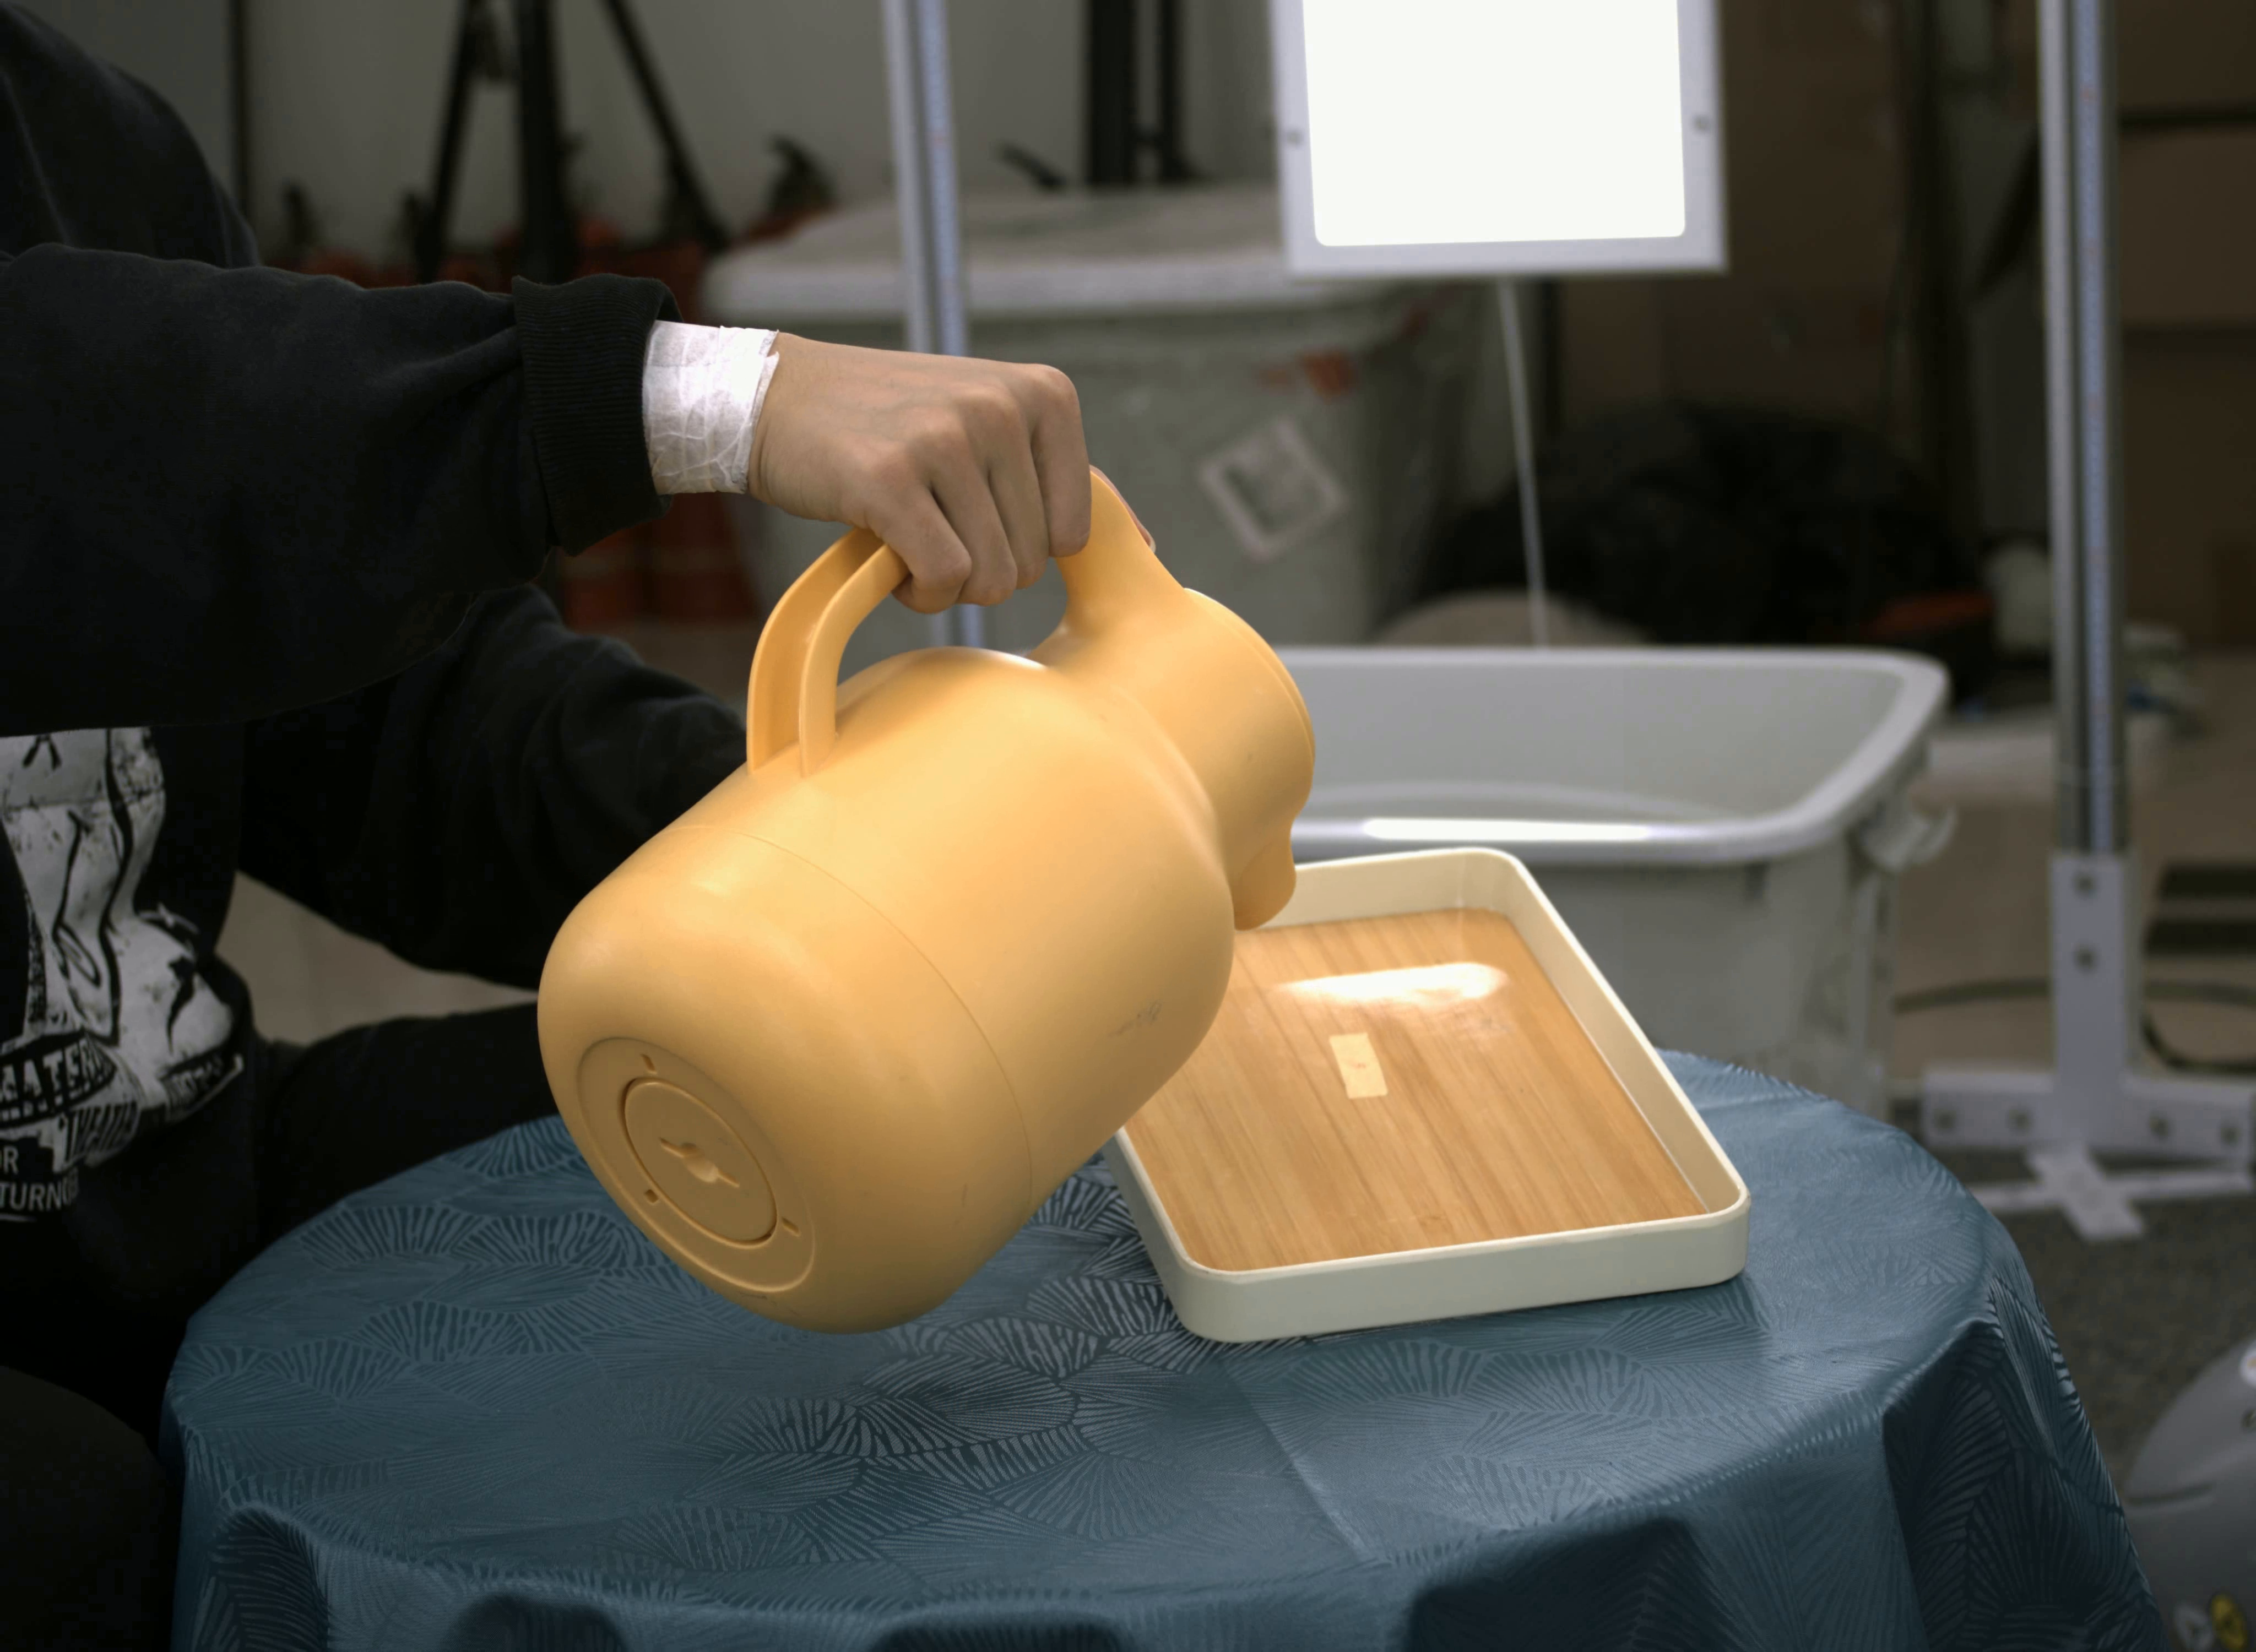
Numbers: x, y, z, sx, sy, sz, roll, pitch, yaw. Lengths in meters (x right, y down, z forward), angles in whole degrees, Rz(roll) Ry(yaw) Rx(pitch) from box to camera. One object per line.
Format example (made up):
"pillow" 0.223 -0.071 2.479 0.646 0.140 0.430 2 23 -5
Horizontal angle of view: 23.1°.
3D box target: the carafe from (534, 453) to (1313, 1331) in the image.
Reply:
"carafe" -0.059 0.010 1.691 0.167 0.202 0.255 0 33 48

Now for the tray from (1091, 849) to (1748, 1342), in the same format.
"tray" 0.079 0.086 1.867 0.189 0.027 0.302 -6 24 -10
